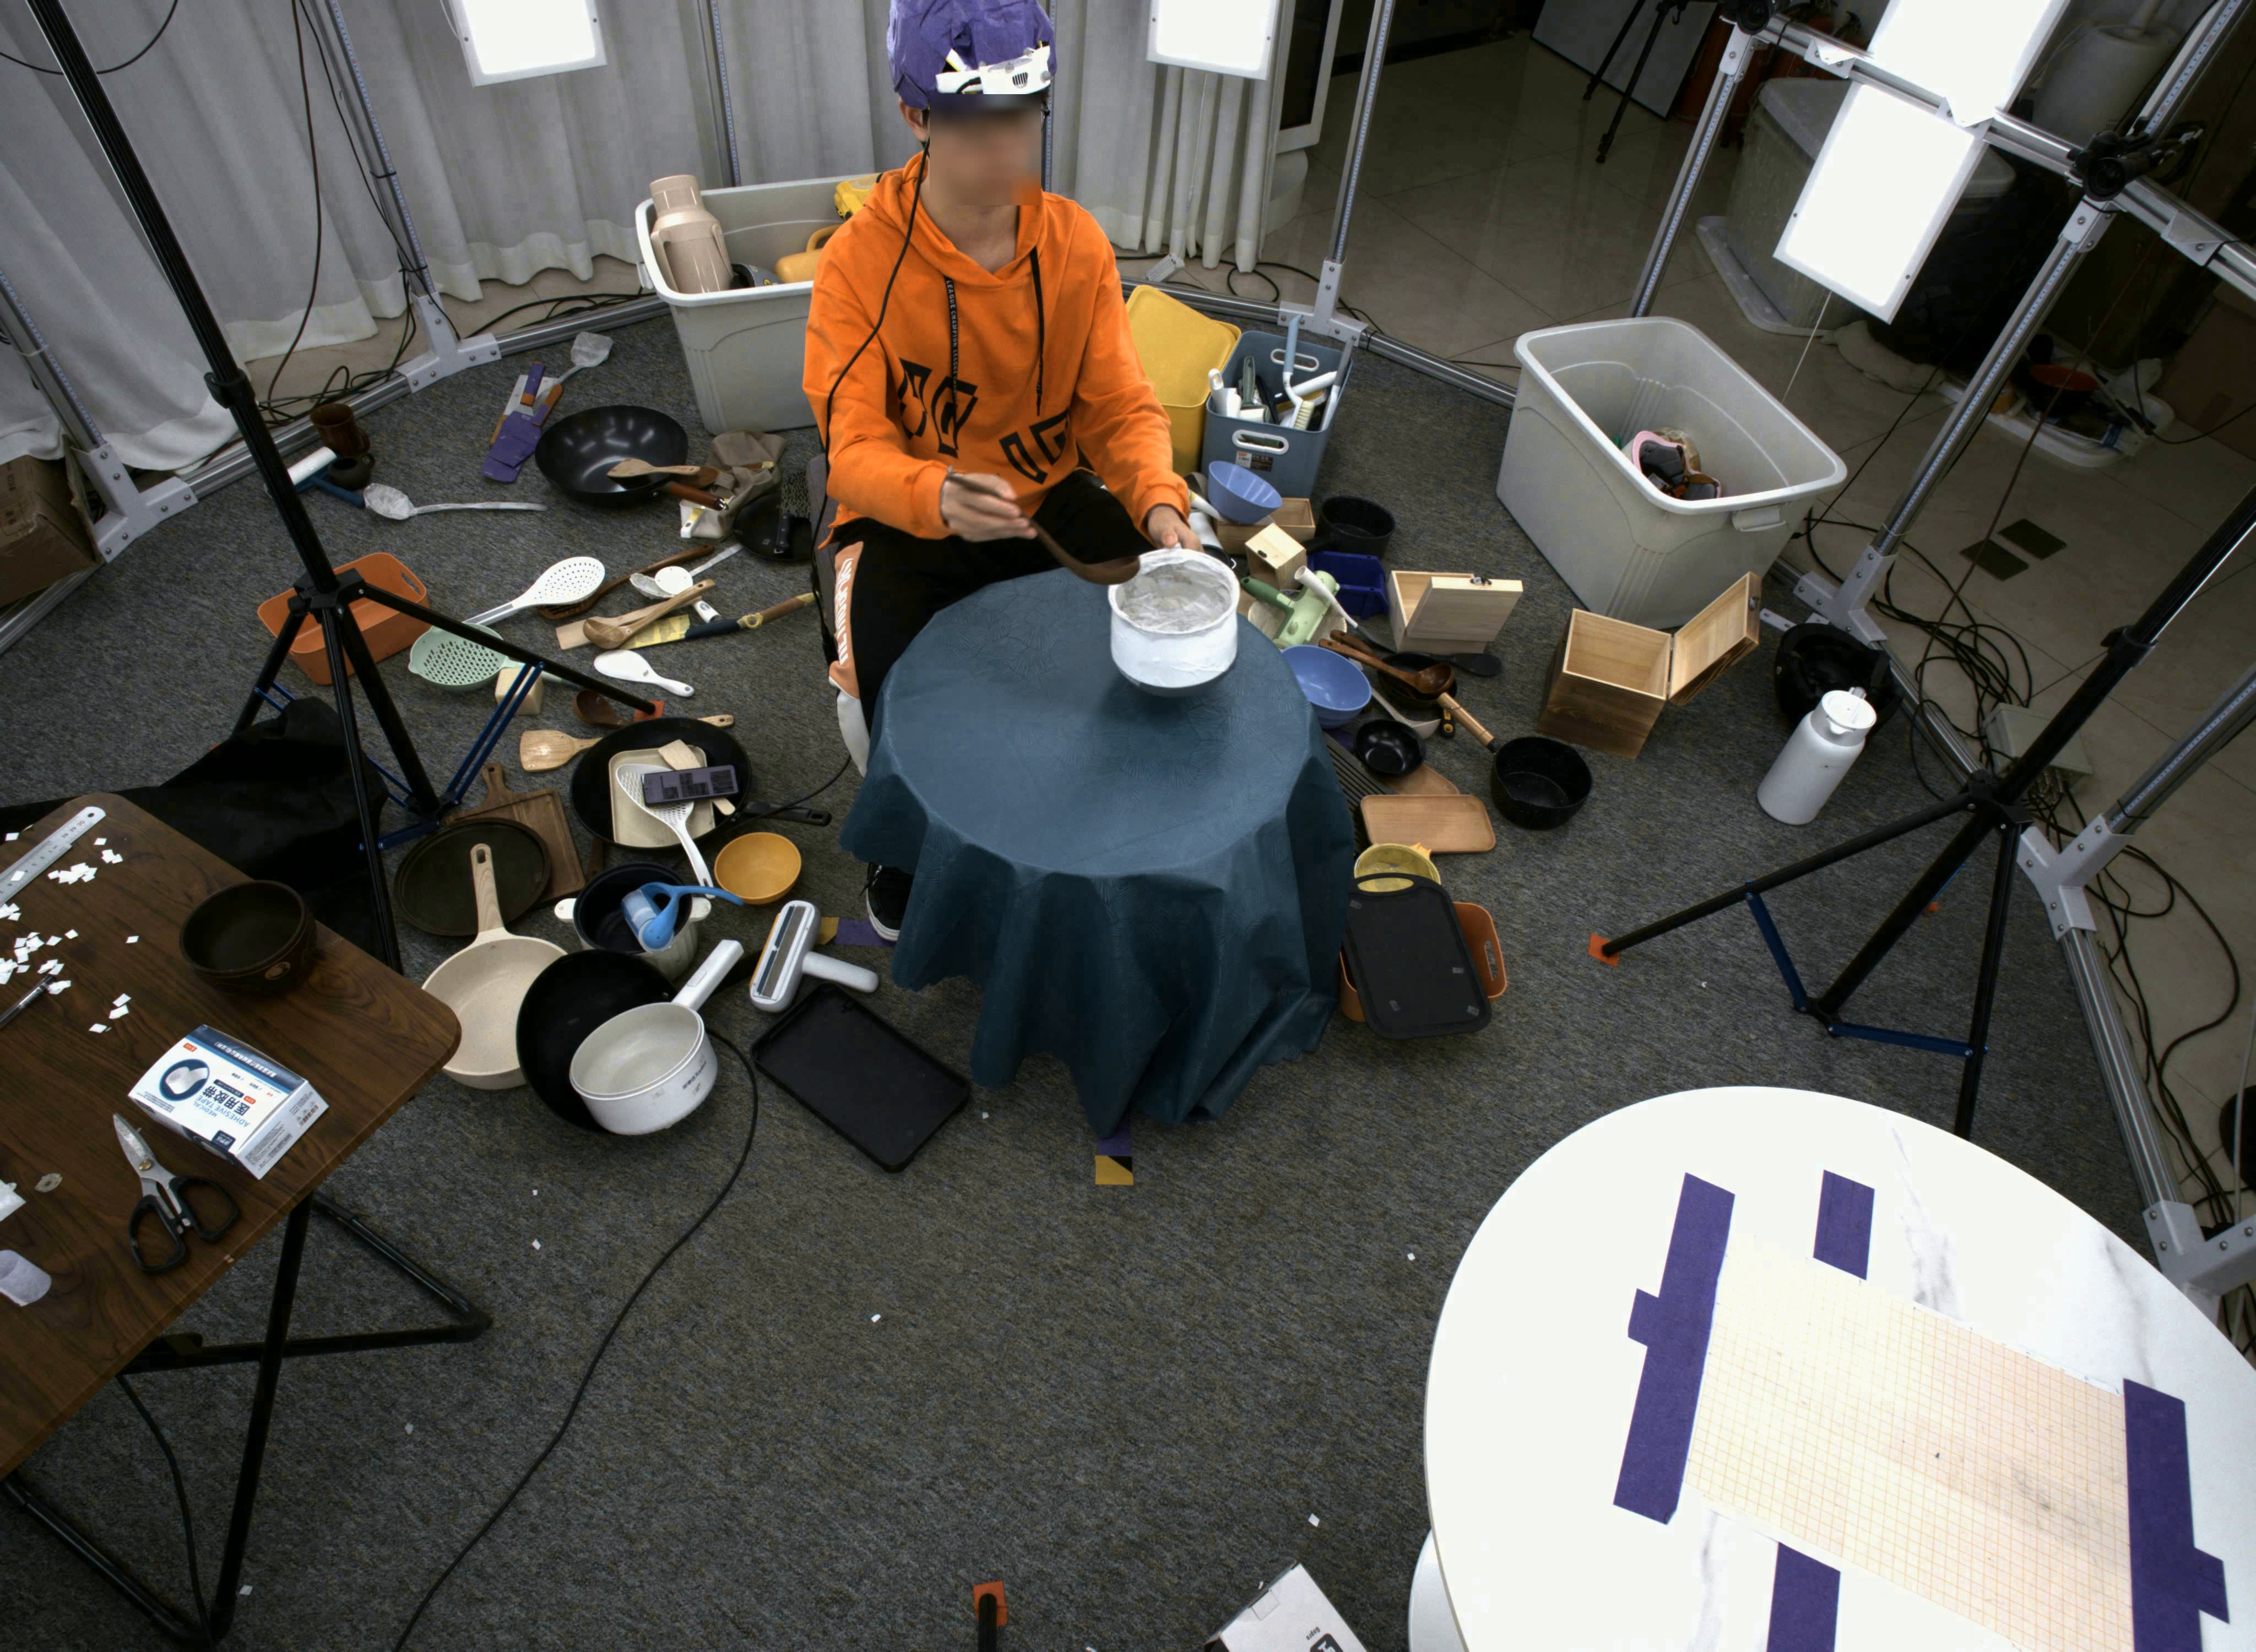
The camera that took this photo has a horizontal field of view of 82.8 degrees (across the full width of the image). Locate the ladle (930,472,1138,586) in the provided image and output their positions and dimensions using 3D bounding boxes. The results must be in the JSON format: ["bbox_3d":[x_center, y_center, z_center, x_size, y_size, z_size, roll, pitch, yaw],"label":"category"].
[{"bbox_3d":[-0.108,-0.377,1.580,0.271,0.077,0.071,33,88,-22],"label":"ladle"}]

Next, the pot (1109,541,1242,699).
[{"bbox_3d":[0.065,-0.295,1.781,0.178,0.133,0.239,-2,49,1],"label":"pot"}]
